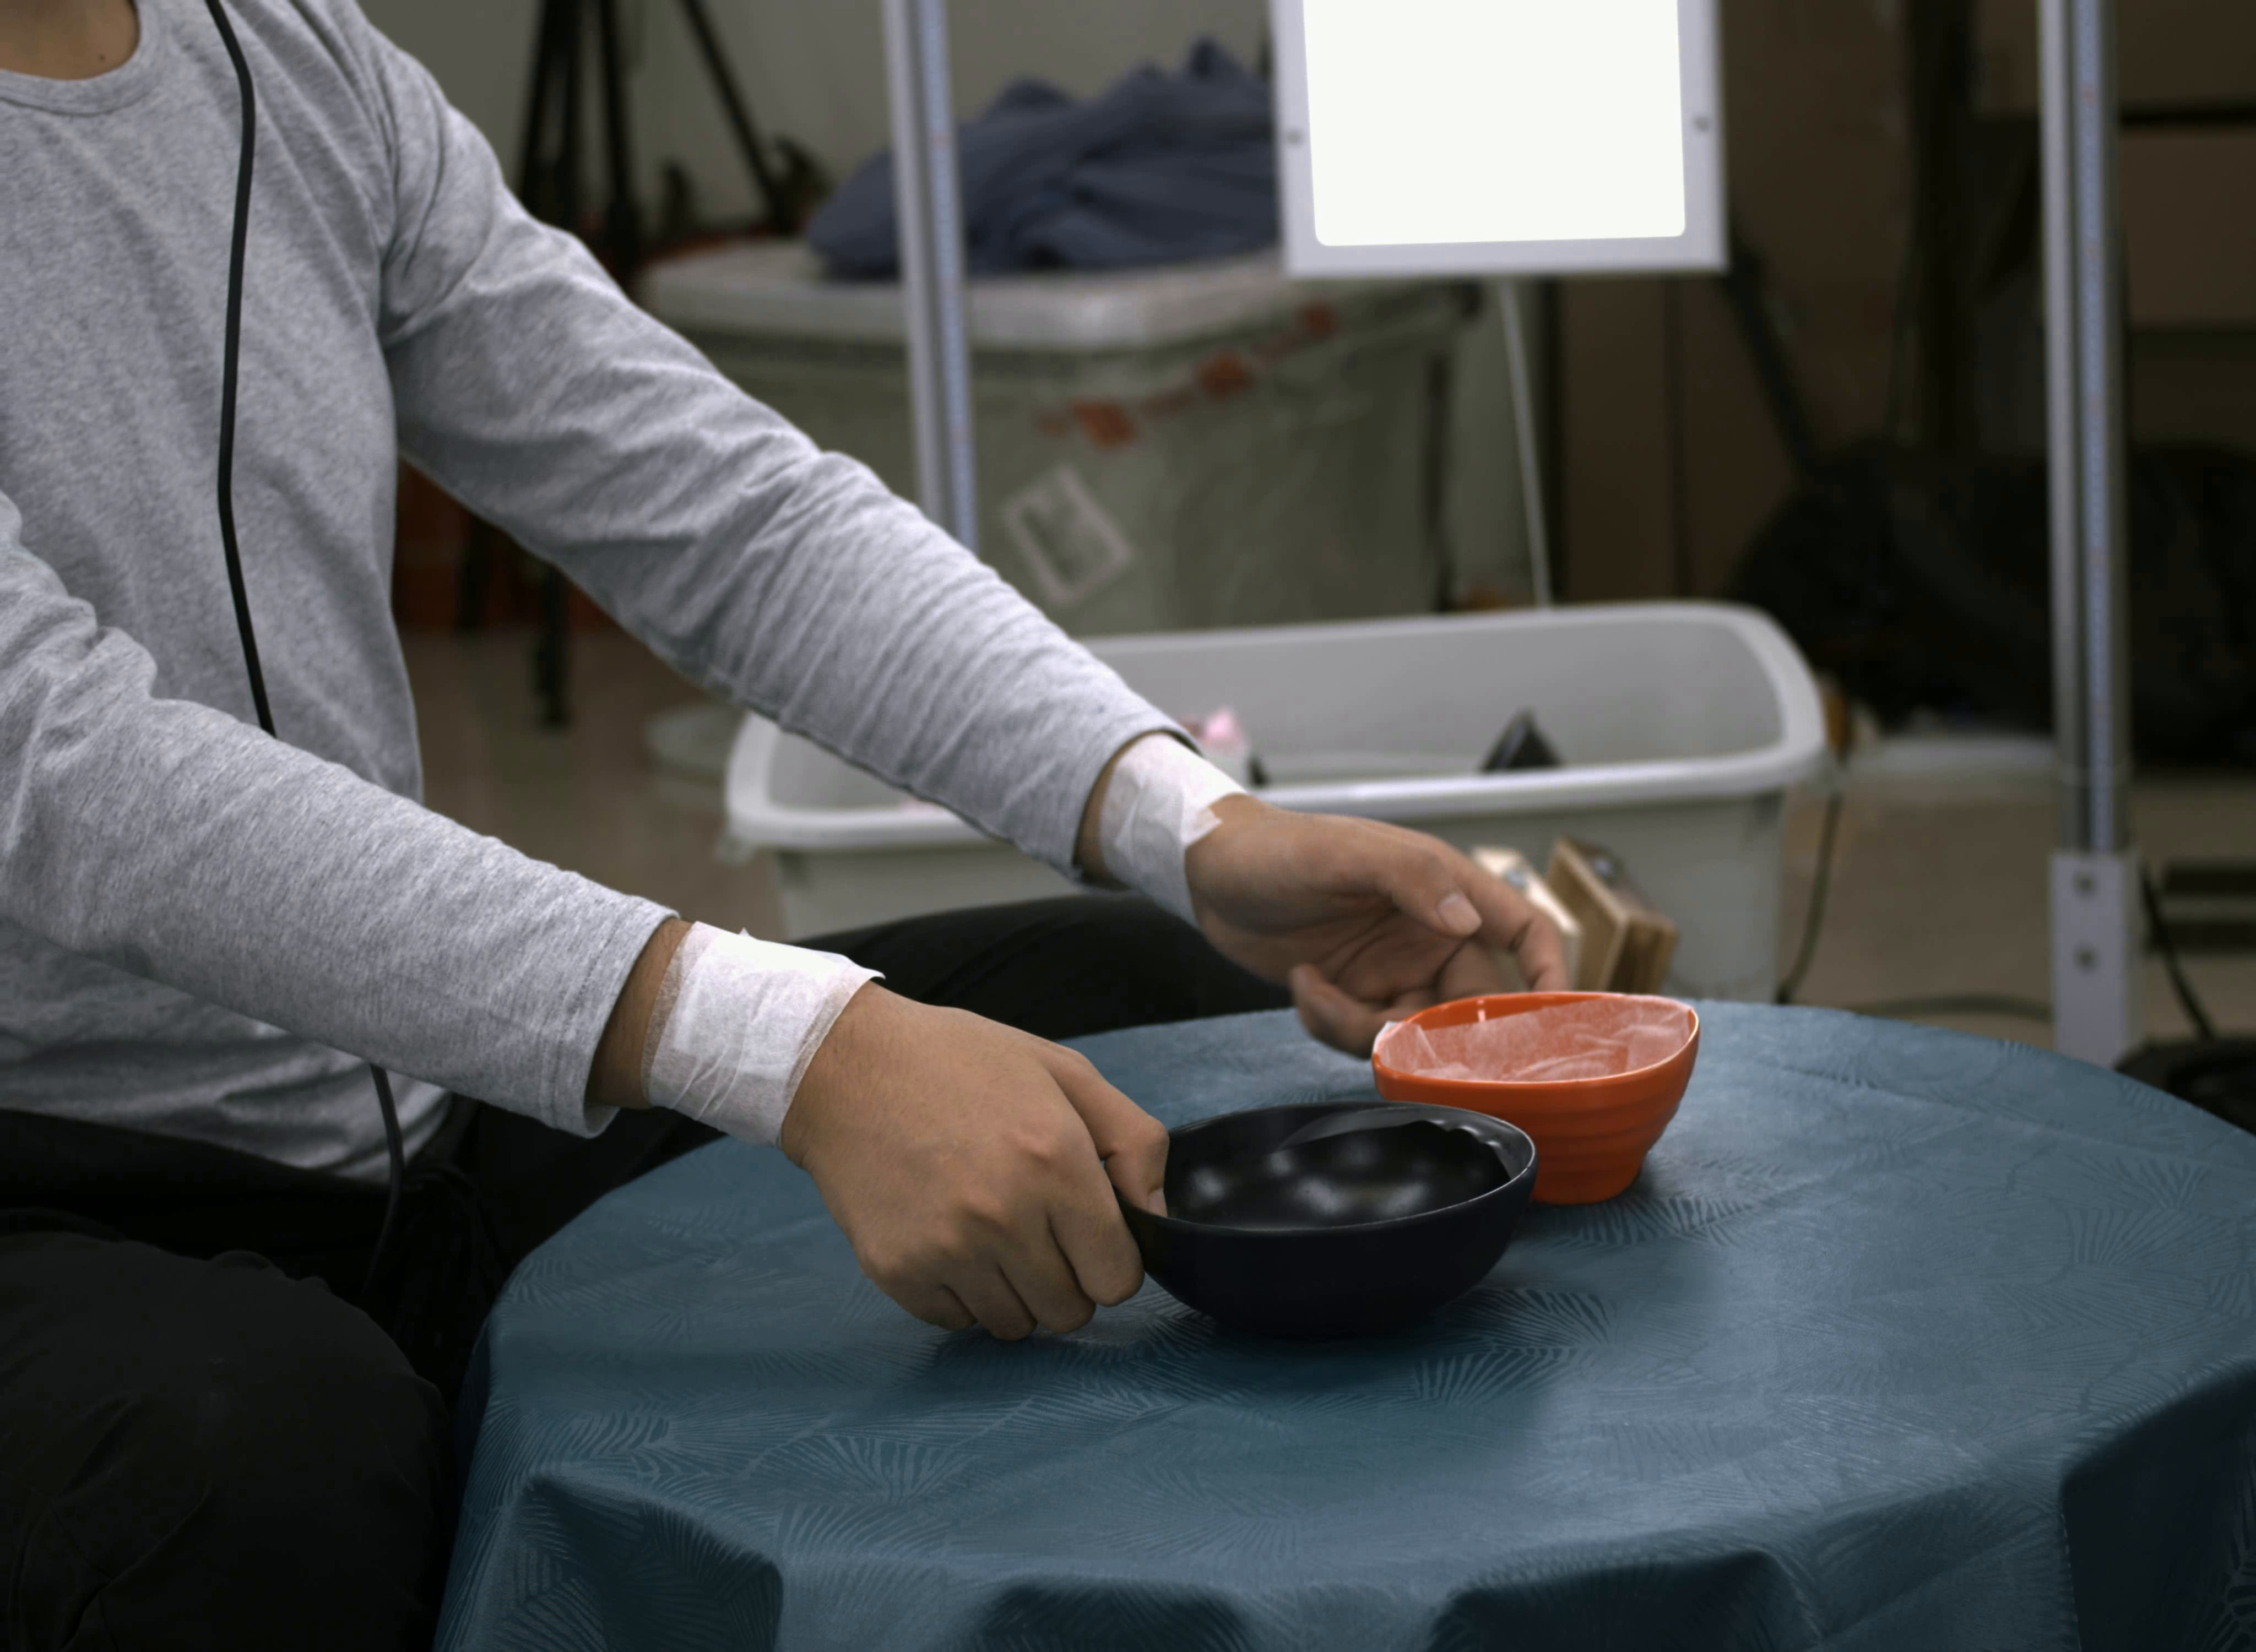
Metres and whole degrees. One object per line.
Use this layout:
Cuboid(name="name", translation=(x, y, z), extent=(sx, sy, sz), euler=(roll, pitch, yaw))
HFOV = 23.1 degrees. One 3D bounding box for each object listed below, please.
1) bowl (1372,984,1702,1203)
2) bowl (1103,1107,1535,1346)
Cuboid(name="bowl", translation=(0.141, 0.093, 1.874), extent=(0.118, 0.051, 0.119), euler=(-4, 16, 0))
Cuboid(name="bowl", translation=(0.064, 0.132, 1.760), extent=(0.140, 0.050, 0.140), euler=(-7, 12, 0))
